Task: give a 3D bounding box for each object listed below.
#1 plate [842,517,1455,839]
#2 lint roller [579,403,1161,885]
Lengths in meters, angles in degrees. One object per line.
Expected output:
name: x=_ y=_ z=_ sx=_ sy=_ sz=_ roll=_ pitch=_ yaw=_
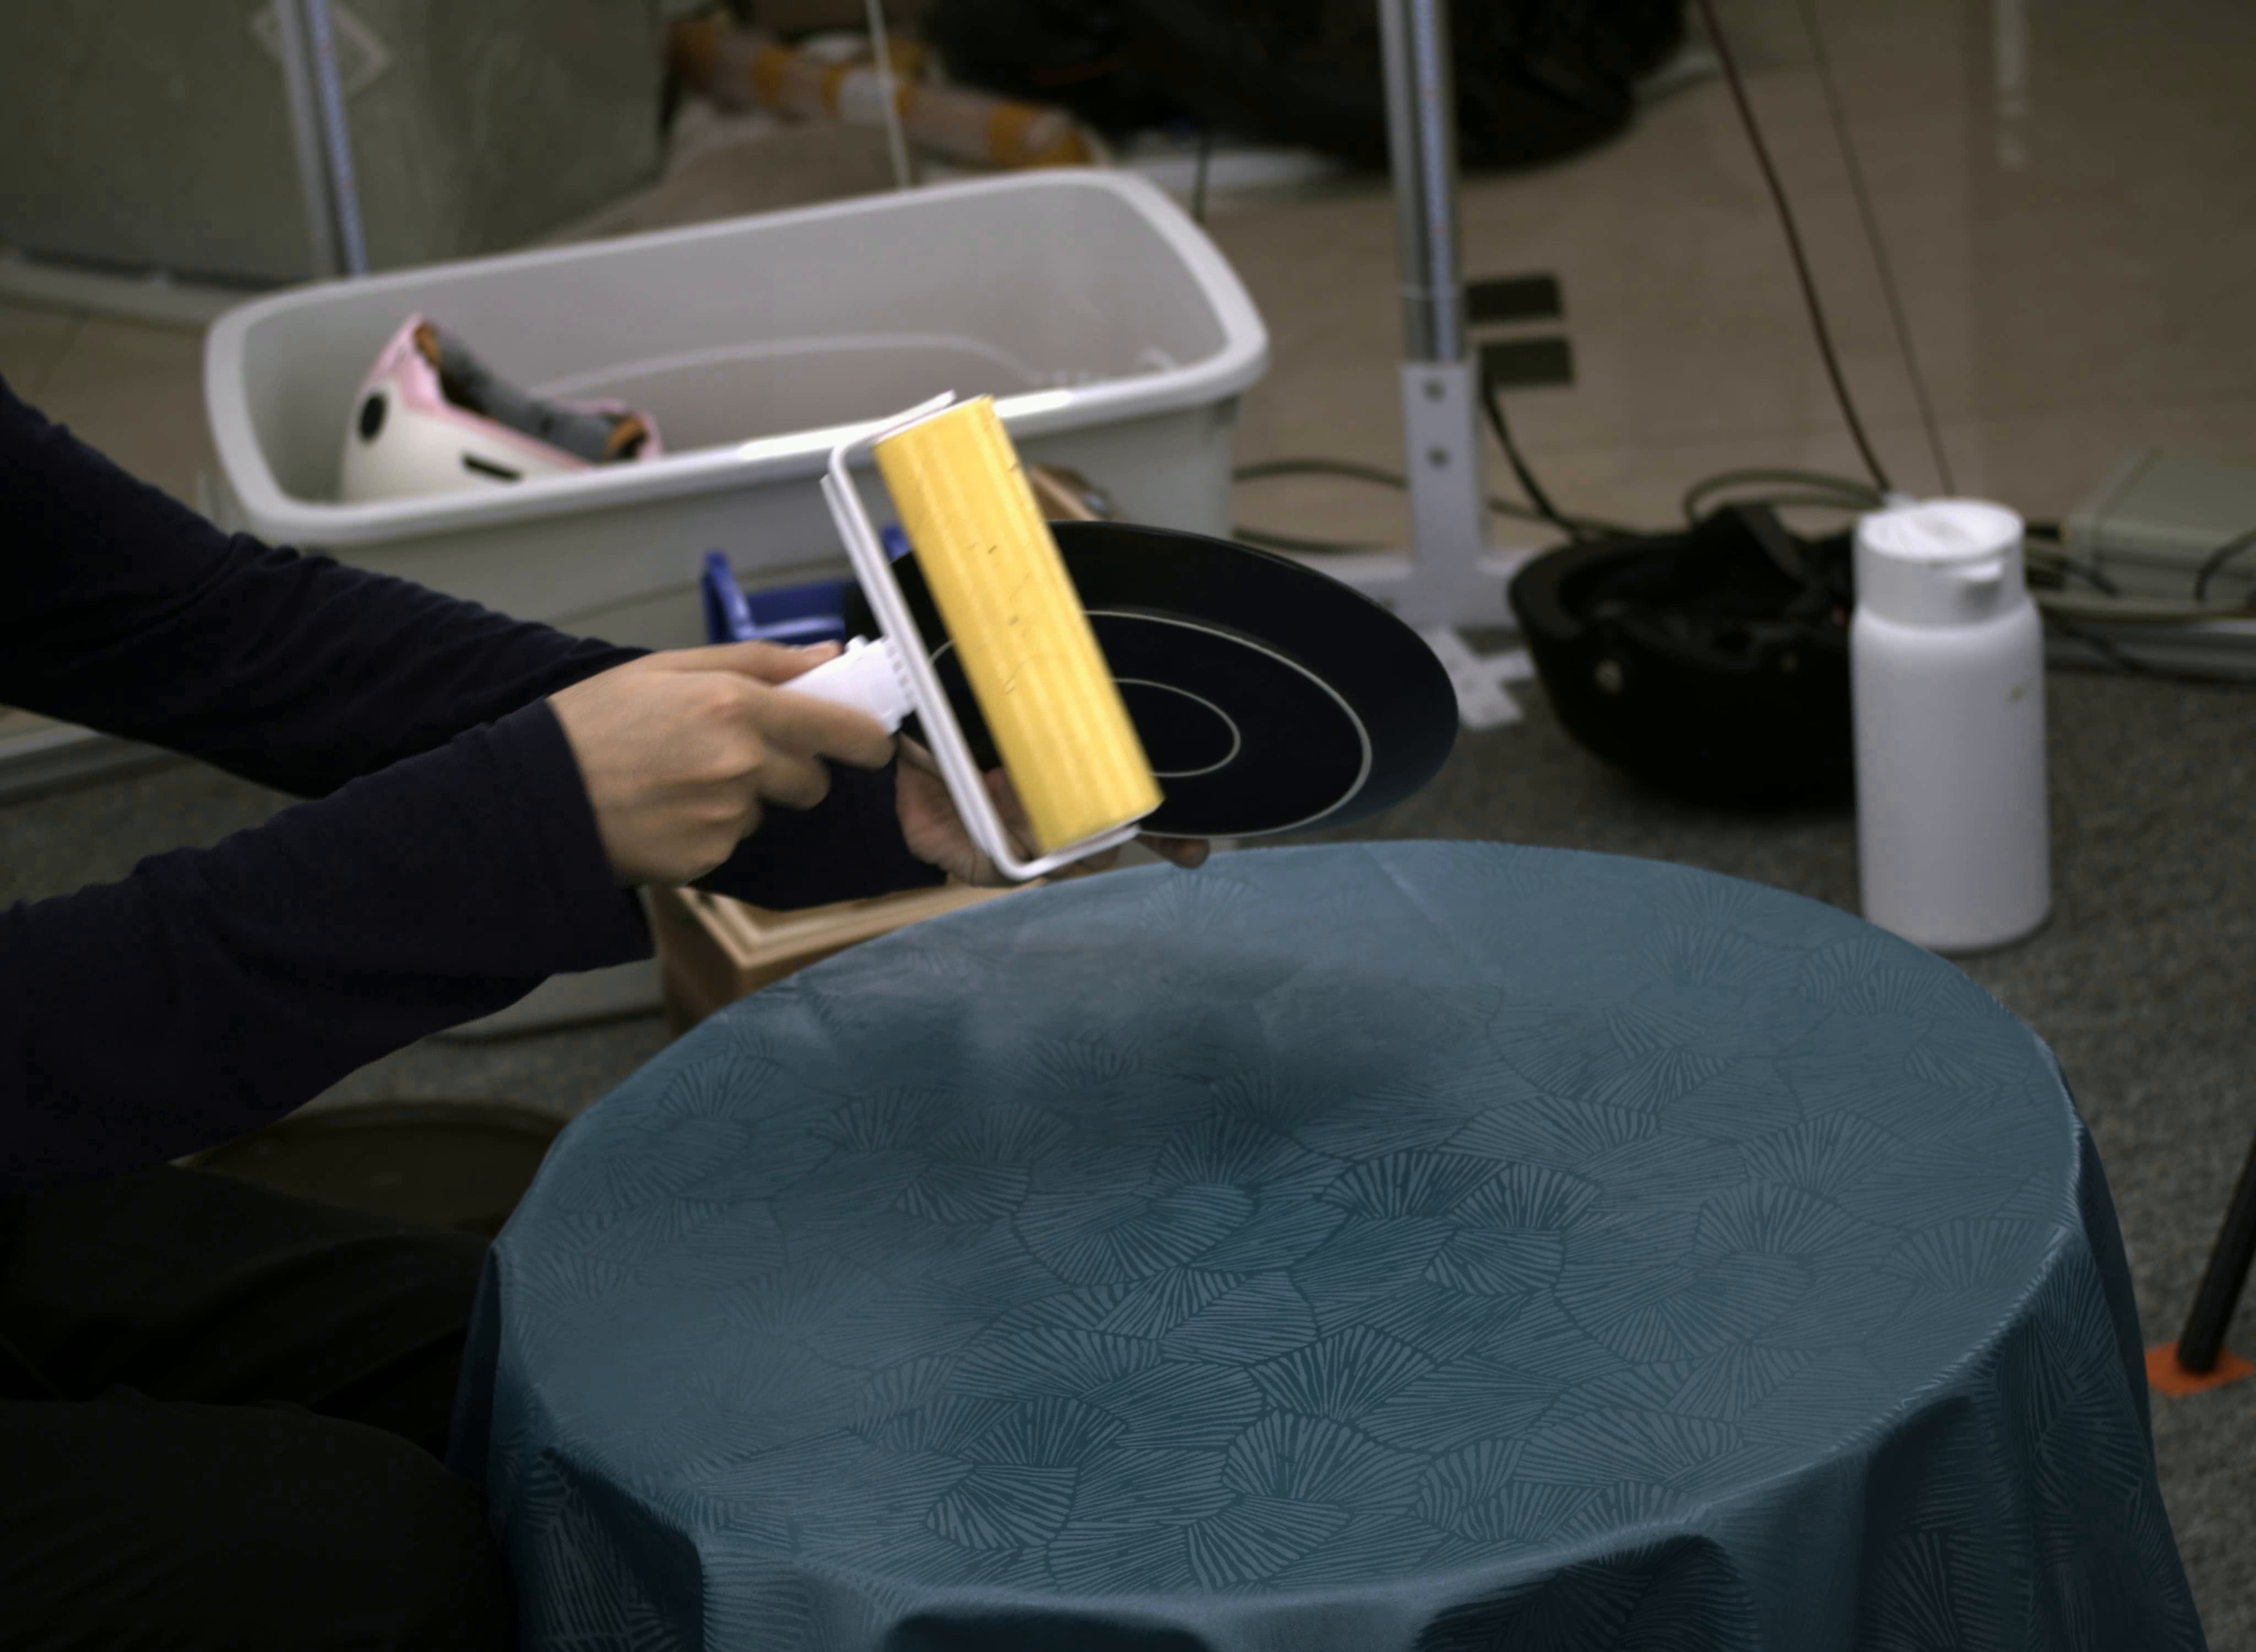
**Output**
plate: x=0.006 y=-0.048 z=2.203 sx=0.244 sy=0.248 sz=0.023 roll=2 pitch=62 yaw=17
lint roller: x=-0.107 y=-0.039 z=2.029 sx=0.191 sy=0.175 sz=0.051 roll=-25 pitch=3 yaw=-10
